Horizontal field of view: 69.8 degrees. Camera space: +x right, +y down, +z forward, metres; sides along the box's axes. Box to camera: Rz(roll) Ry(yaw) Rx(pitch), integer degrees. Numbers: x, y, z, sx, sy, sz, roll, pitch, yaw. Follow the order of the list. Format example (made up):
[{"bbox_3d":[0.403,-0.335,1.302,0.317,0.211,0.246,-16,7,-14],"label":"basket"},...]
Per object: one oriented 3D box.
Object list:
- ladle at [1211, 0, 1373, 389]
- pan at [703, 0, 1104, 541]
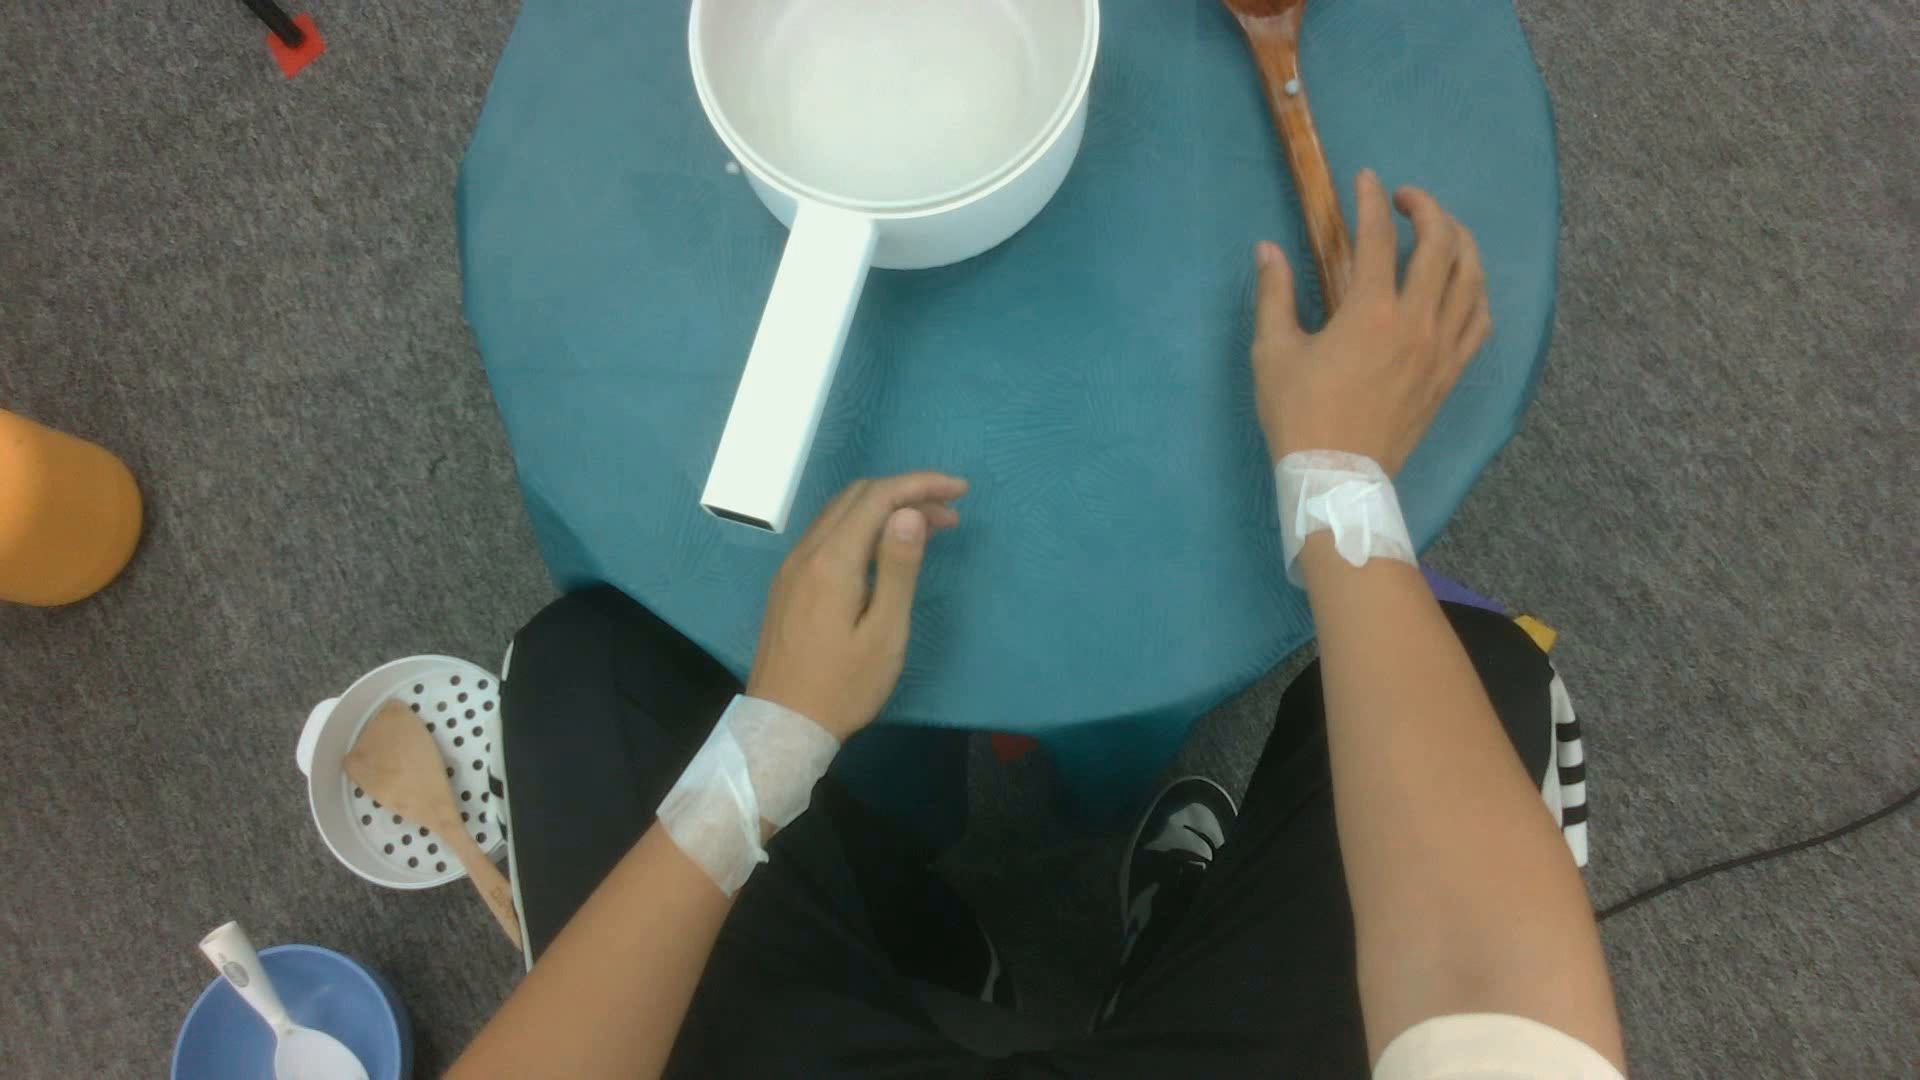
[{"bbox_3d":[0.188,-0.220,0.725,0.082,0.076,0.274,-10,76,0],"label":"ladle"},{"bbox_3d":[-0.047,-0.166,0.722,0.201,0.102,0.355,16,80,7],"label":"pan"}]
